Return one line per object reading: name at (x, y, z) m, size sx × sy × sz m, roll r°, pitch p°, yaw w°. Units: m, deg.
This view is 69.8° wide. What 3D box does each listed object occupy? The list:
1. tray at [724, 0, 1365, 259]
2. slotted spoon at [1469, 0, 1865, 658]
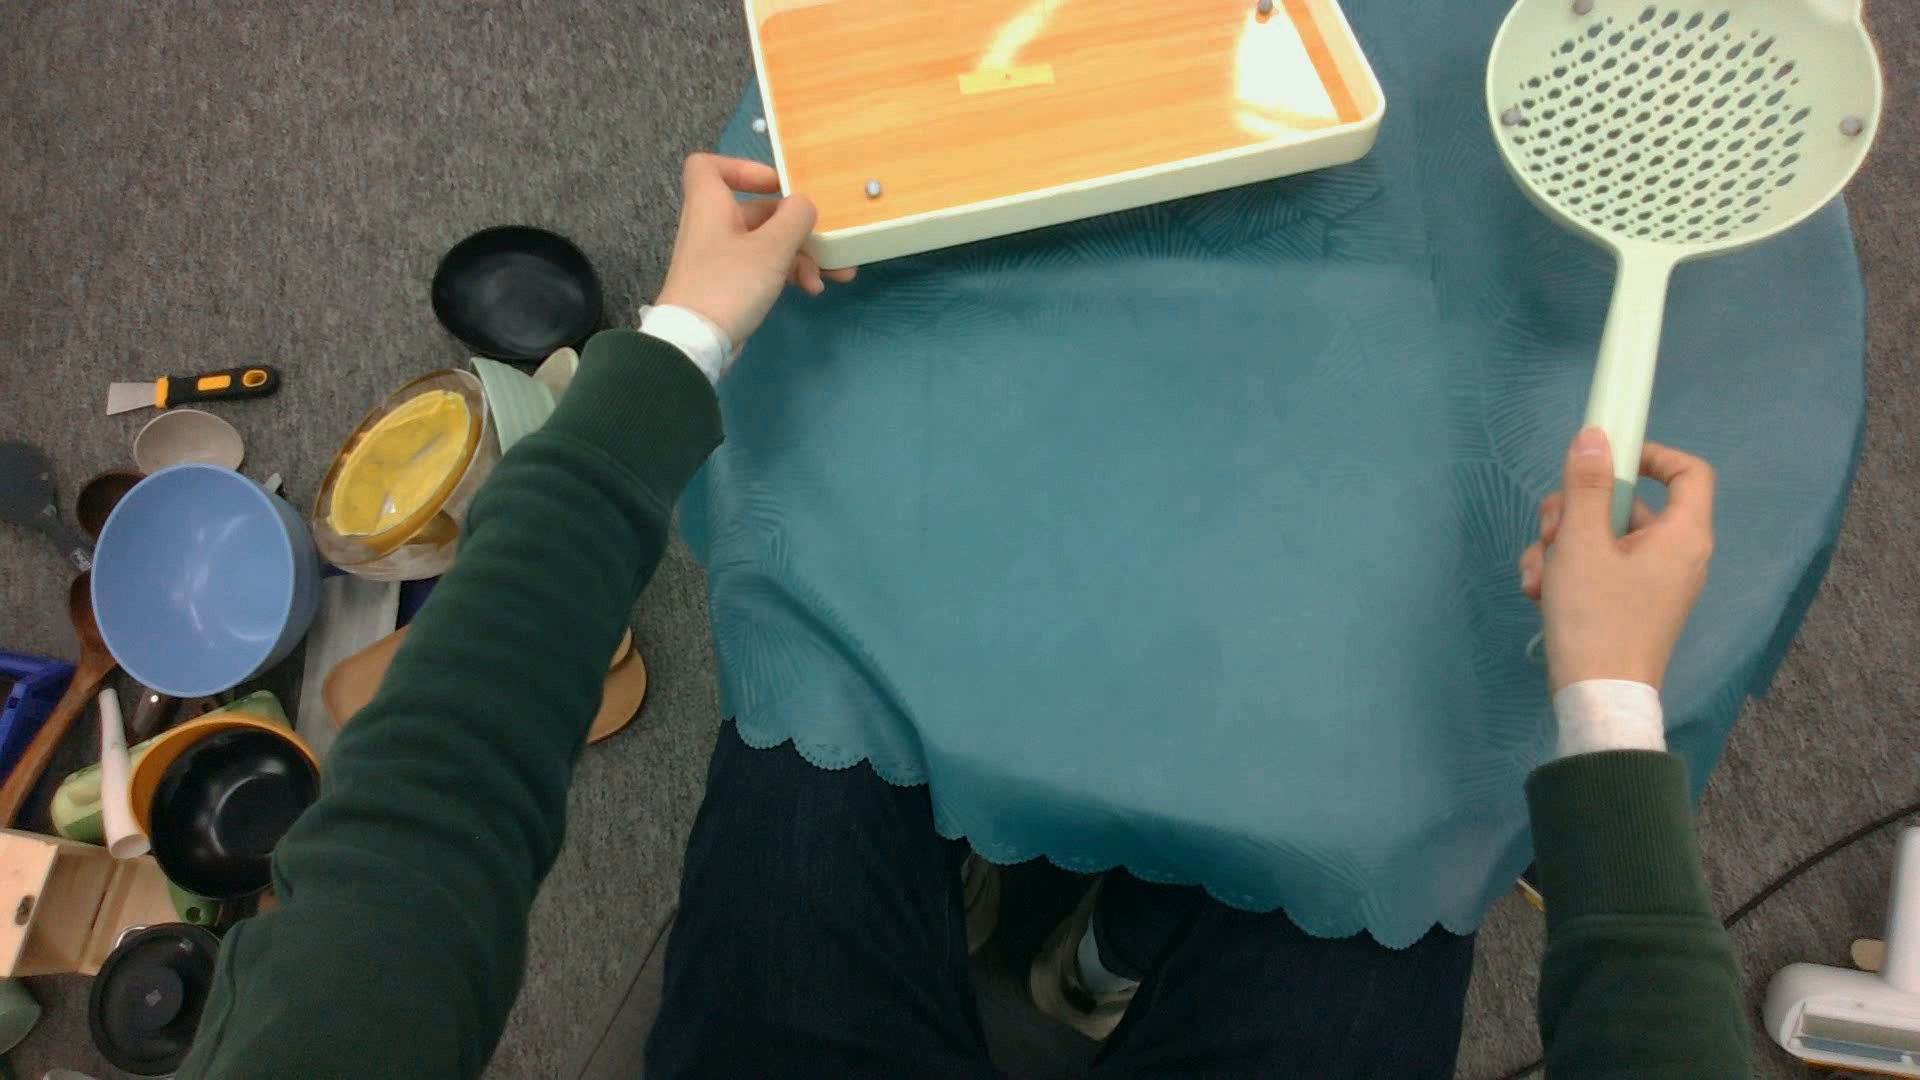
tray at (0.038, -0.252, 0.717) m, size 0.300 × 0.027 × 0.192 m, roll -13°, pitch 62°, yaw -5°
slotted spoon at (0.299, -0.123, 0.623) m, size 0.169 × 0.075 × 0.360 m, roll 13°, pitch 69°, yaw 16°
